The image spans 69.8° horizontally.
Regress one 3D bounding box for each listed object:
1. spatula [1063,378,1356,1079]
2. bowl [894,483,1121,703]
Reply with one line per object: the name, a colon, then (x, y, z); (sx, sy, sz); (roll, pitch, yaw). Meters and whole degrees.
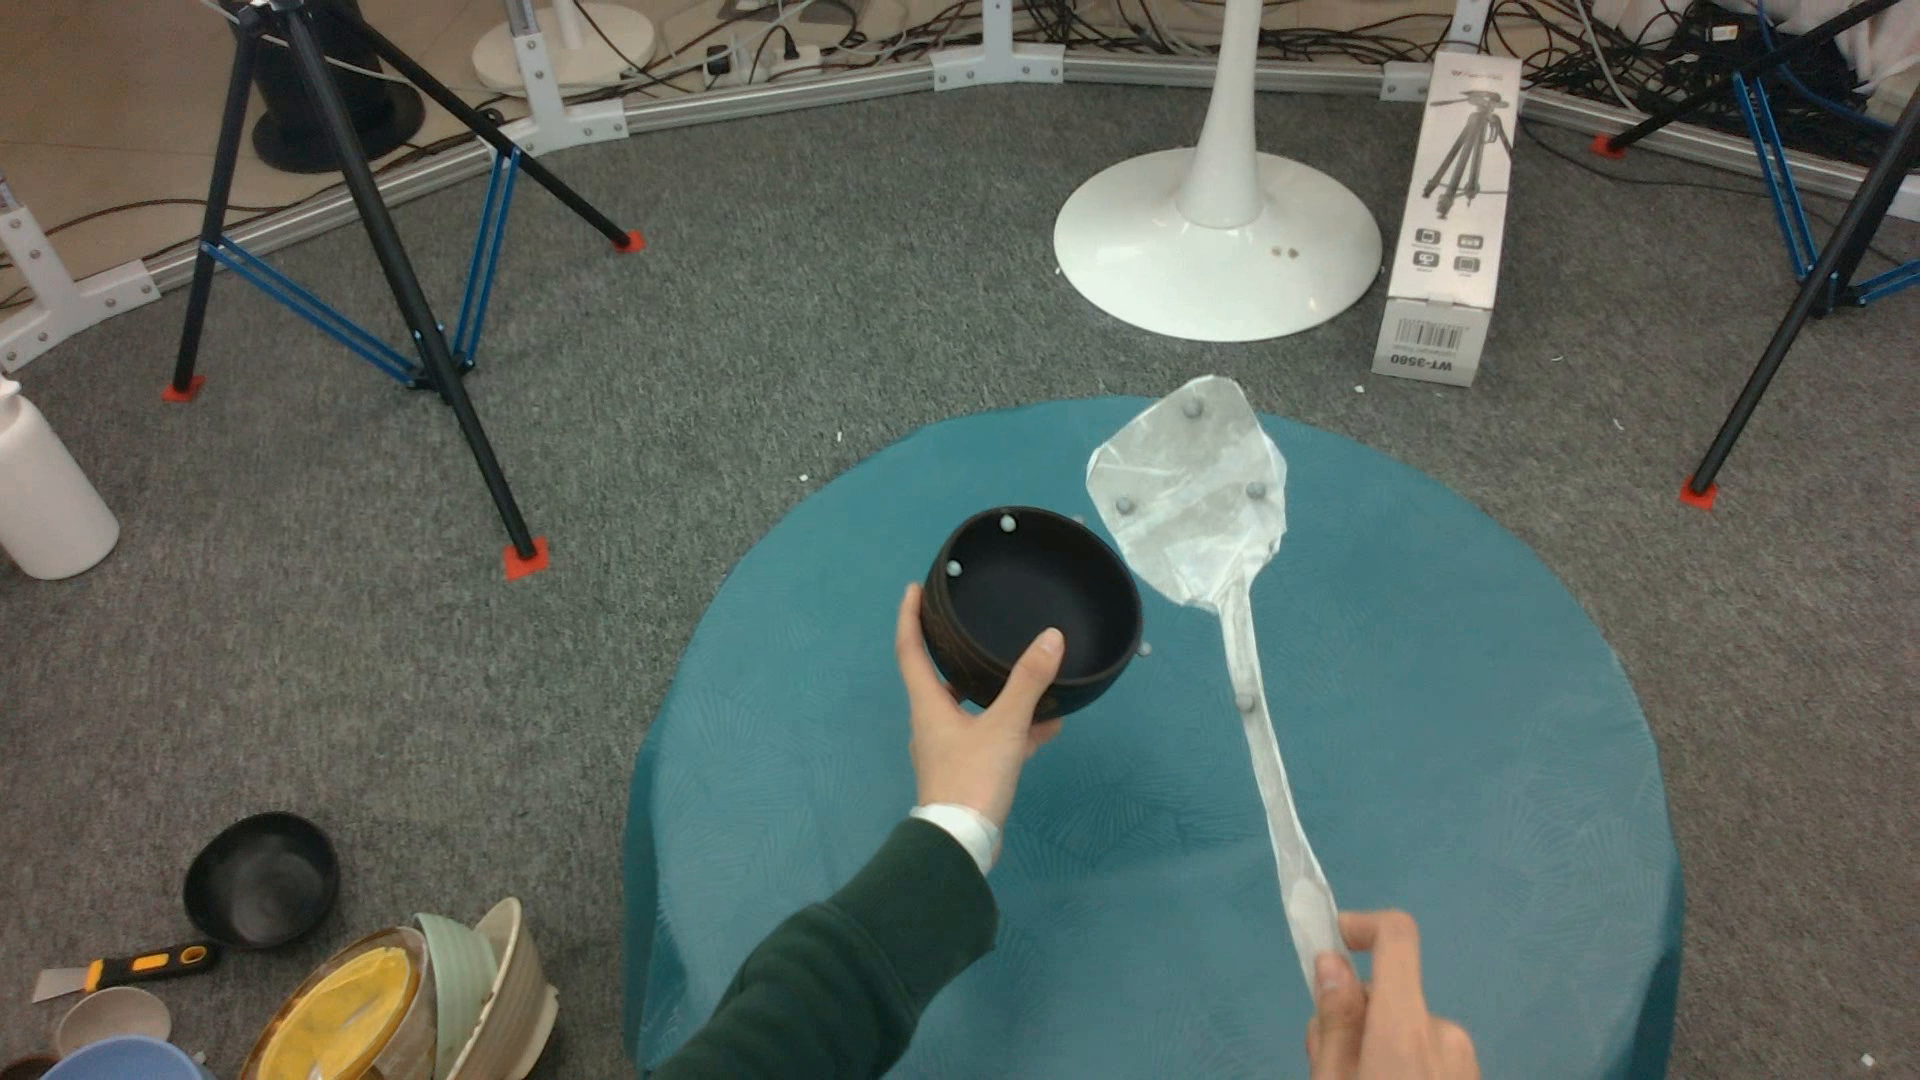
spatula: (0.121, 0.091, 0.599); (0.098, 0.045, 0.366); (-31, 51, 30)
bowl: (0.020, 0.035, 0.739); (0.118, 0.069, 0.118); (11, 52, -14)
